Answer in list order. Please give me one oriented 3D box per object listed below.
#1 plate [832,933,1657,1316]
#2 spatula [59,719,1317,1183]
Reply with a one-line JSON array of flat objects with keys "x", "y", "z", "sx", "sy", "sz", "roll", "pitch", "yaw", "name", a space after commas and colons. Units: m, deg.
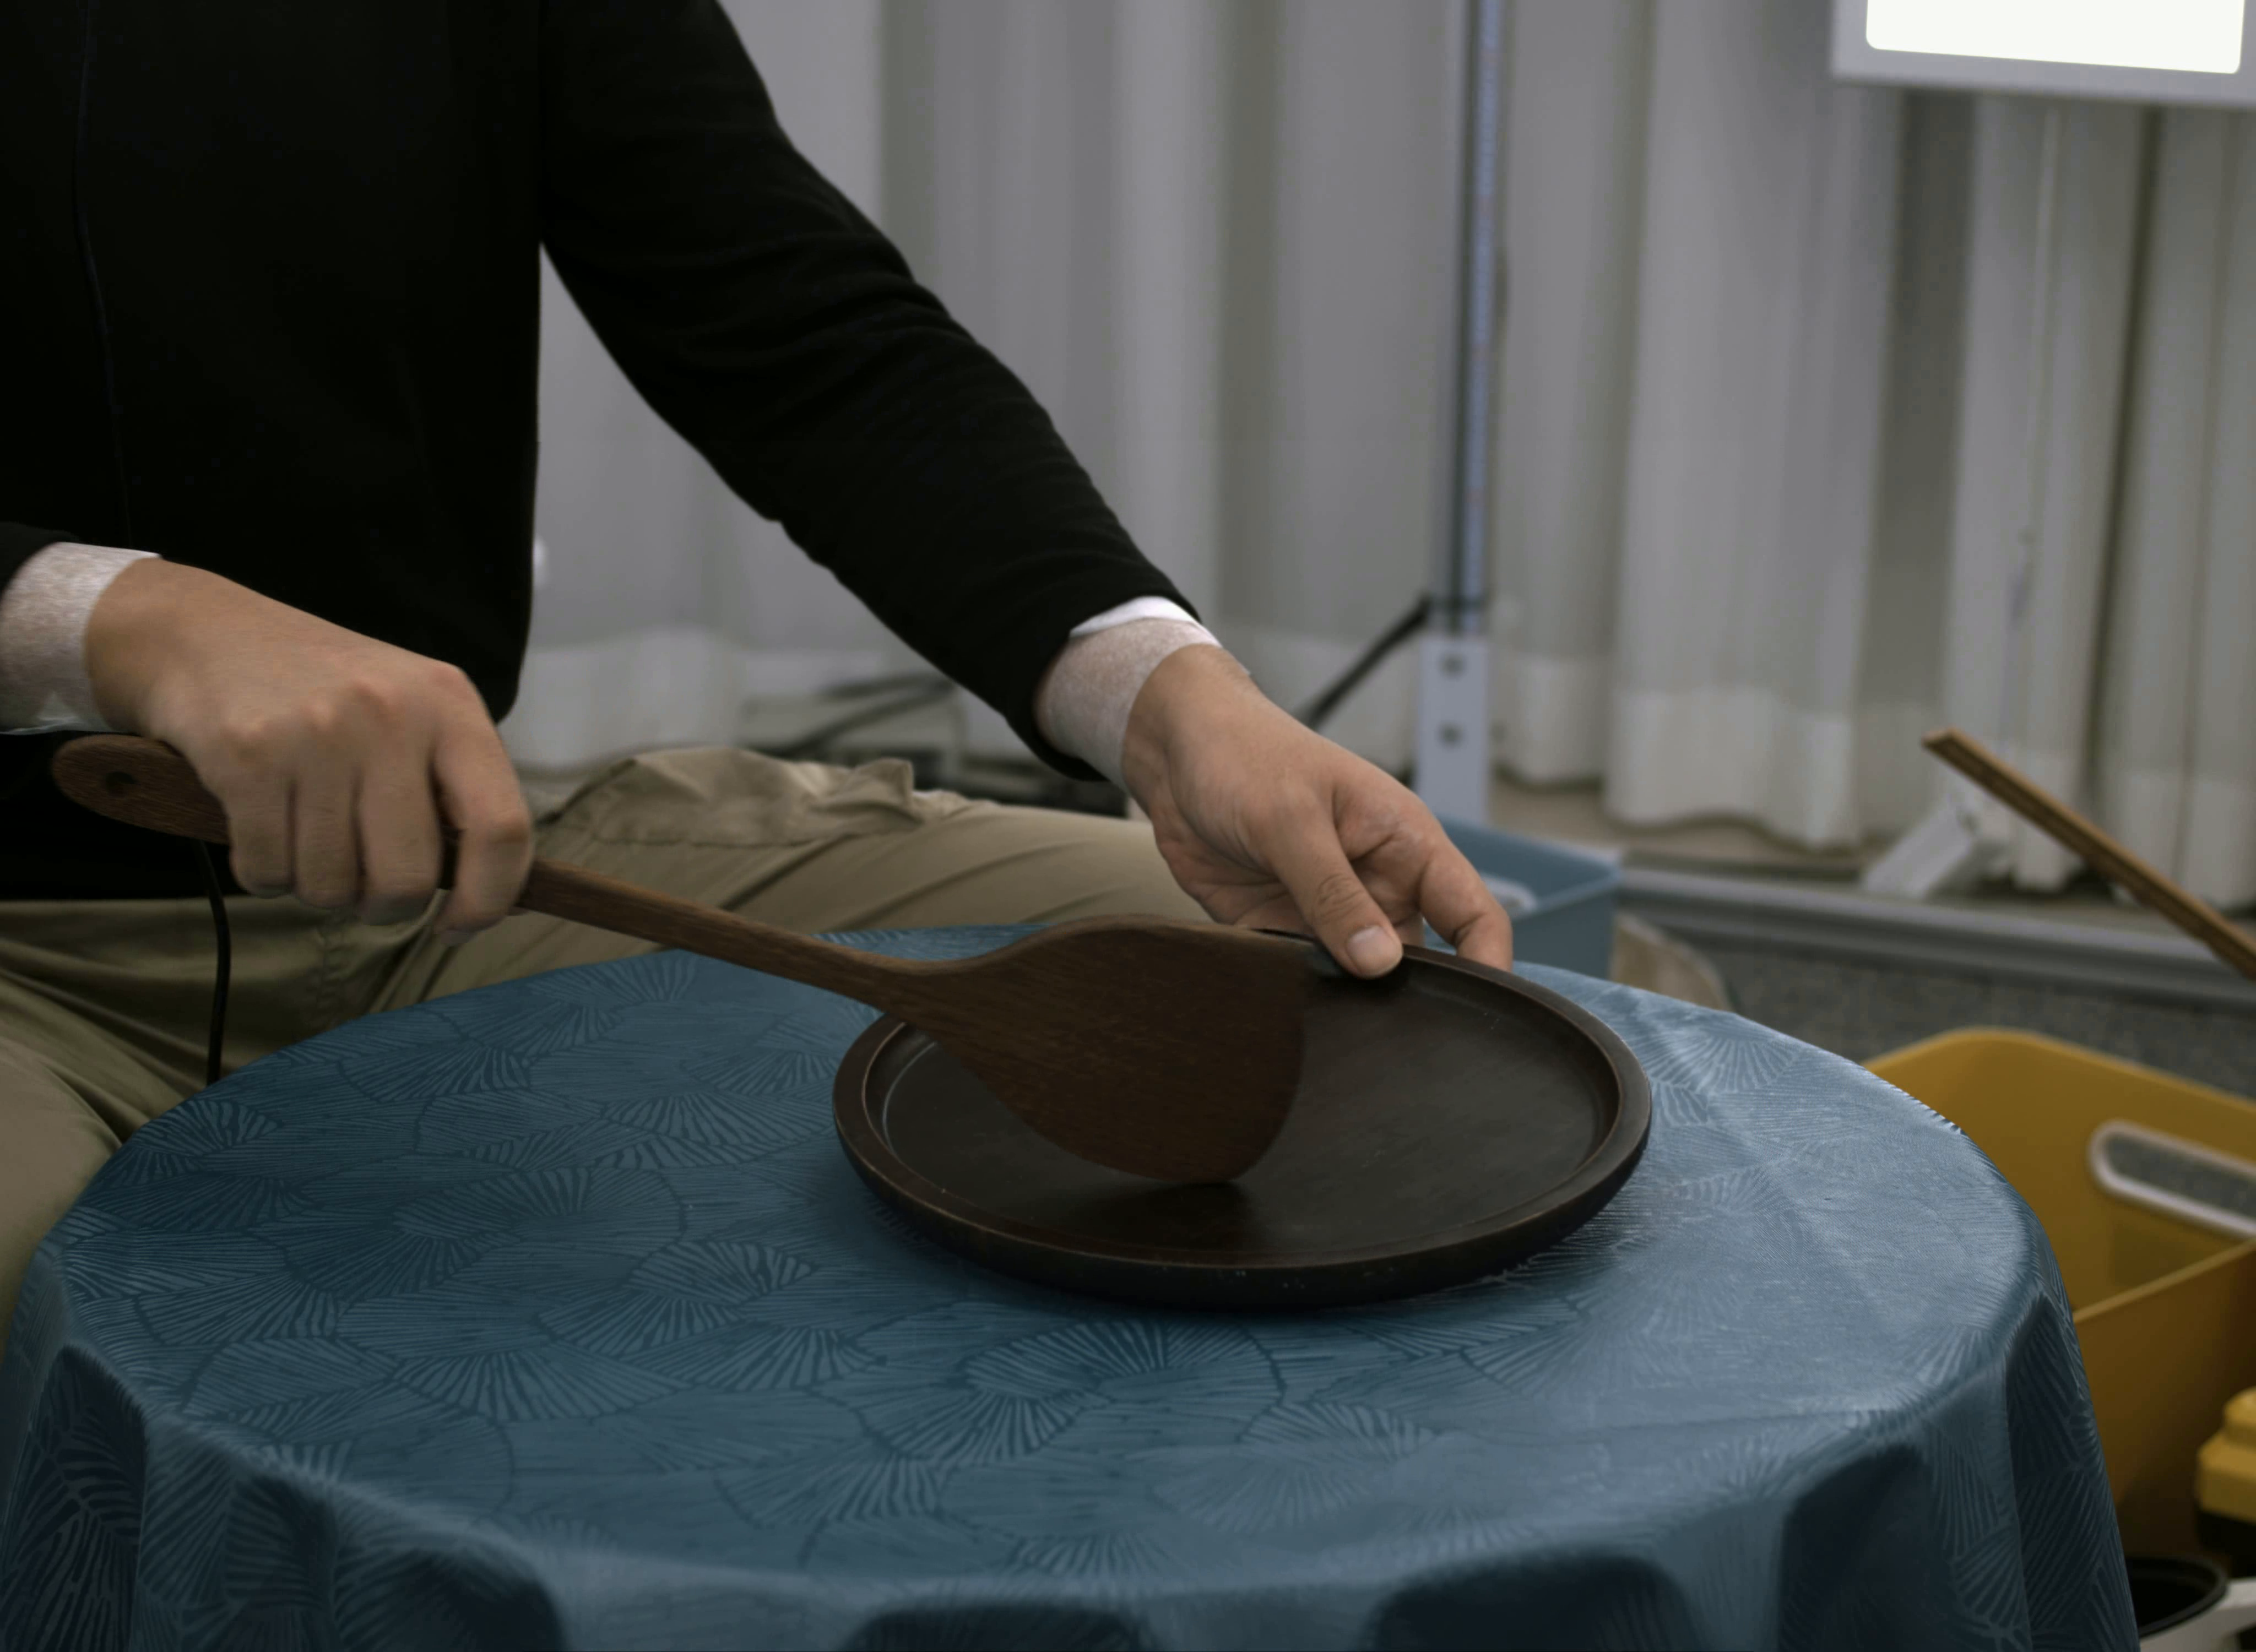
[{"x": 0.035, "y": 0.088, "z": 1.619, "sx": 0.254, "sy": 0.029, "sz": 0.253, "roll": 0, "pitch": 23, "yaw": 0, "name": "plate"}, {"x": -0.132, "y": 0.025, "z": 1.556, "sx": 0.384, "sy": 0.097, "sz": 0.016, "roll": 15, "pitch": 34, "yaw": 4, "name": "spatula"}]
